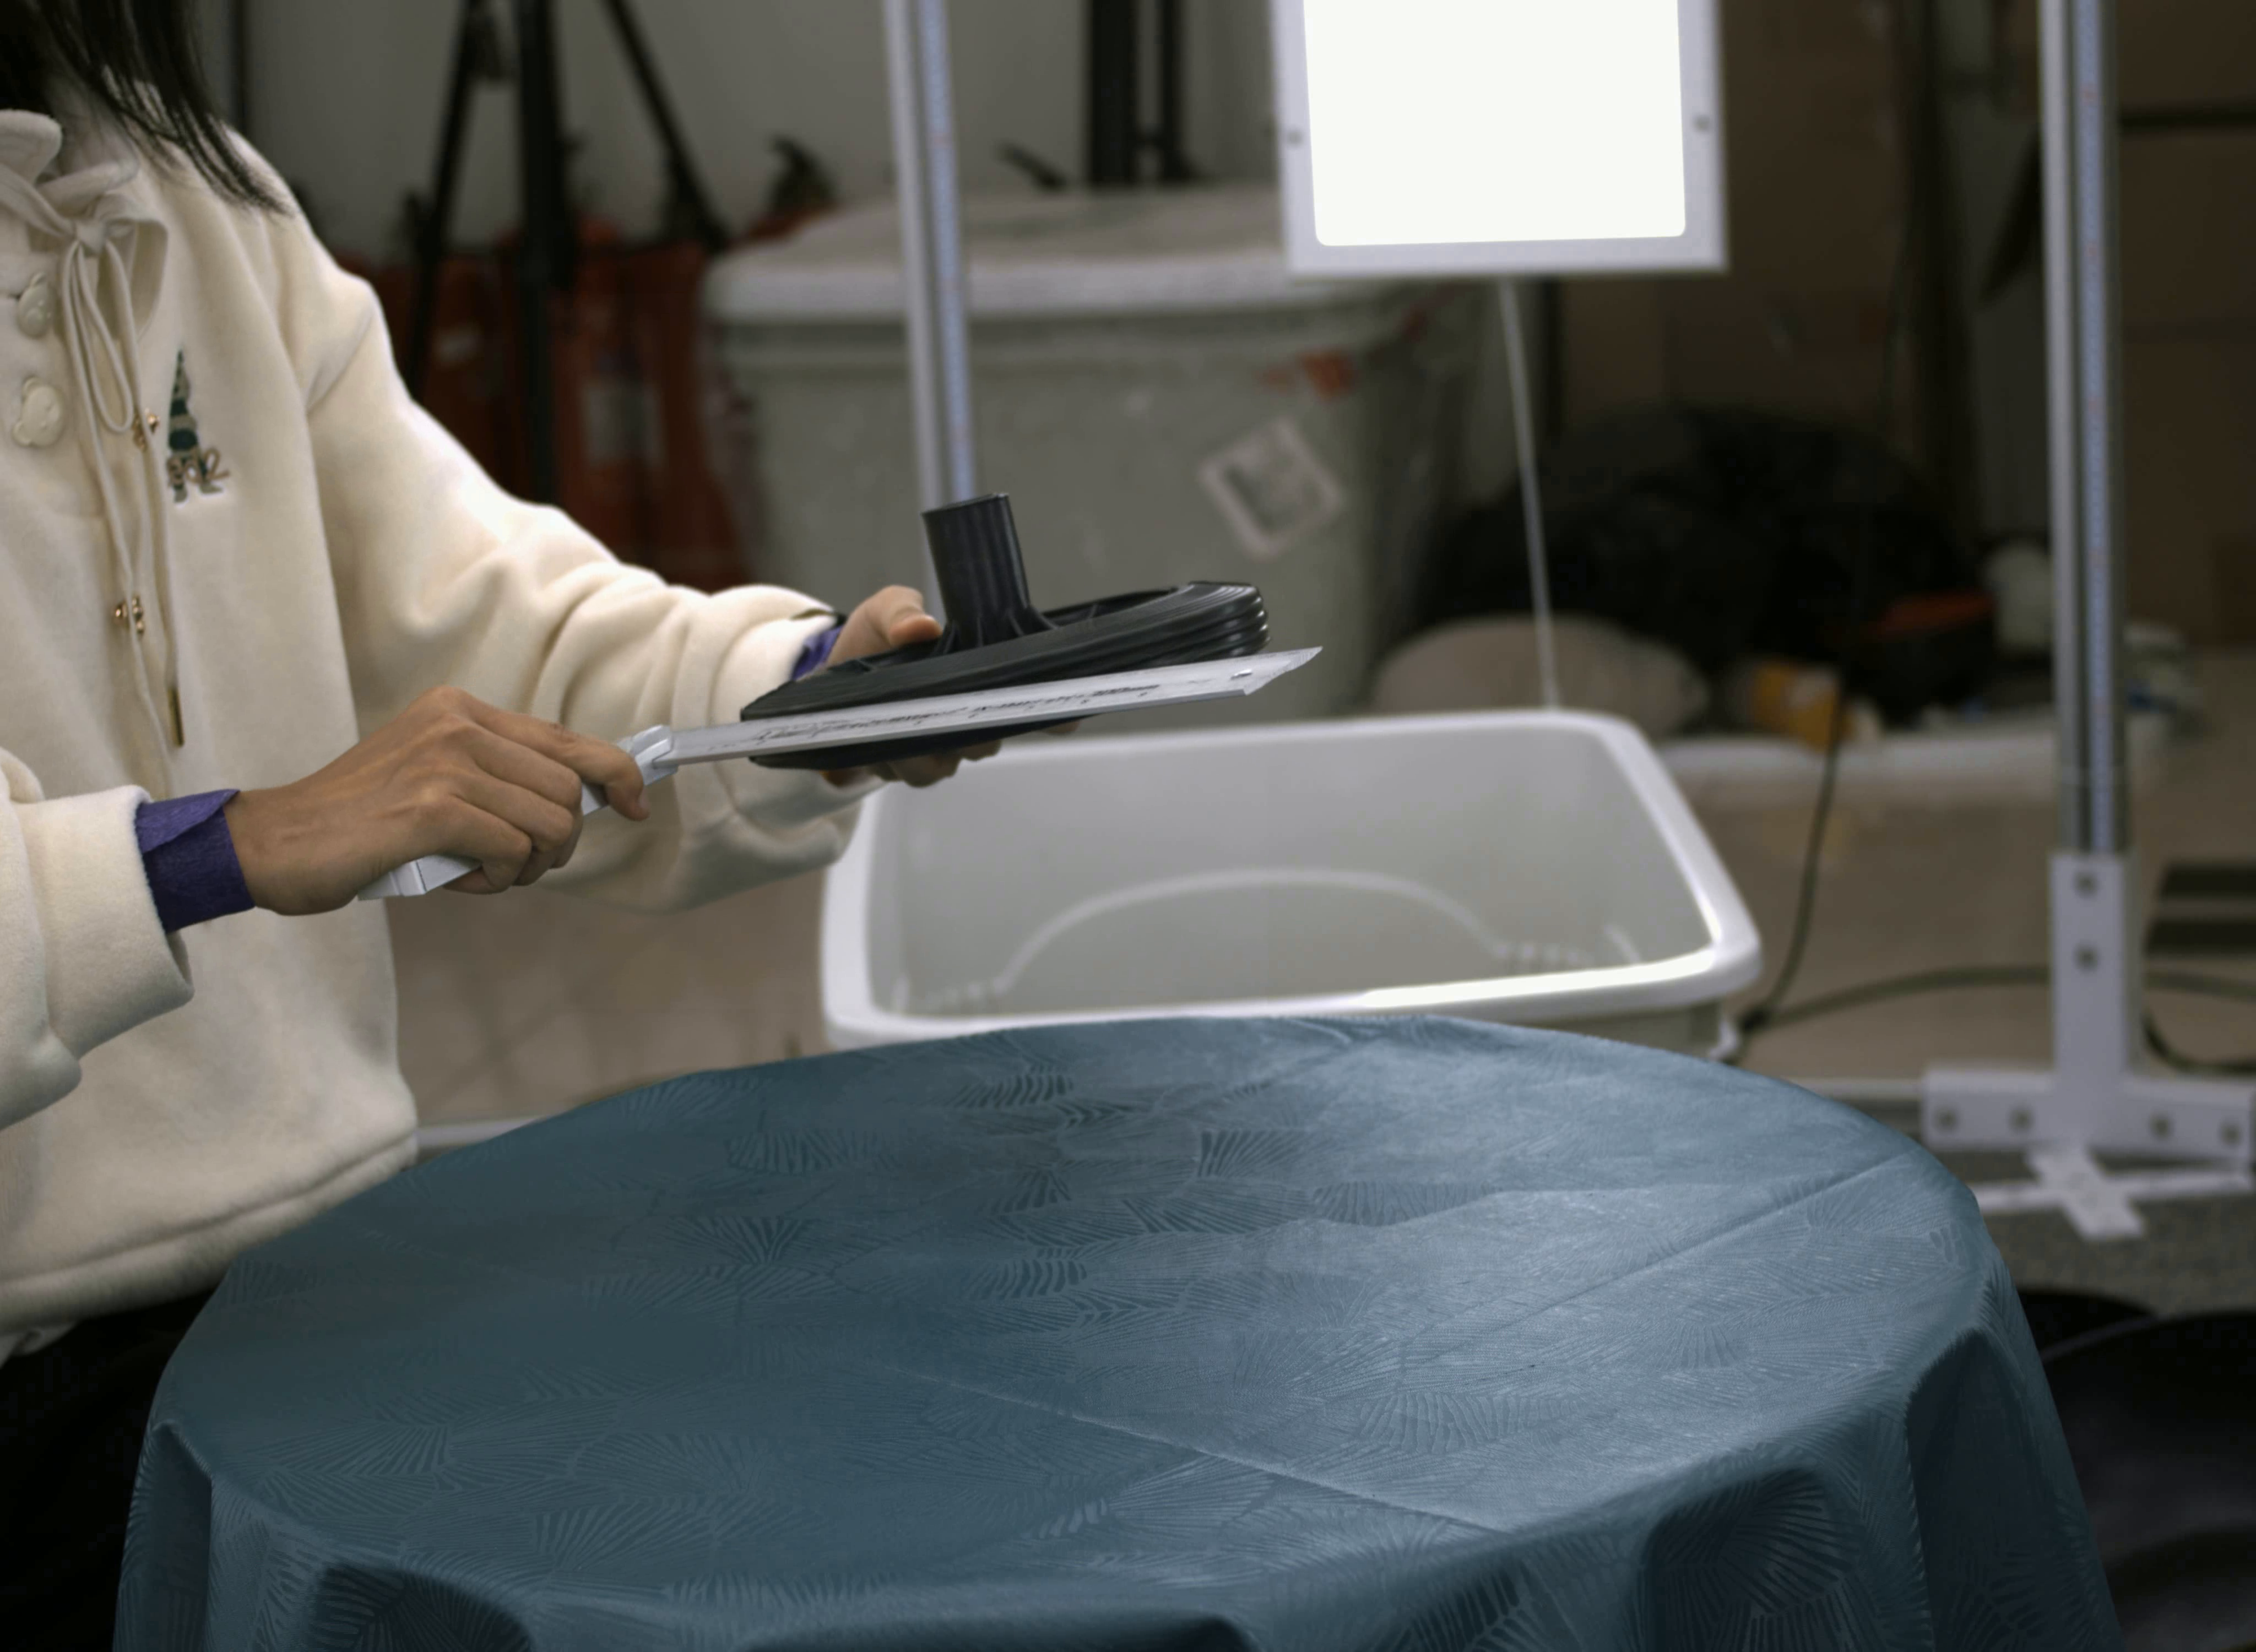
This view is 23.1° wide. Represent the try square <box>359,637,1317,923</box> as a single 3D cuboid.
[{"bbox_3d":[-0.098,-0.015,1.761,0.320,0.016,0.149,-6,20,46],"label":"try square"}]

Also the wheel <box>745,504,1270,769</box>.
[{"bbox_3d":[-0.047,-0.071,1.927,0.191,0.079,0.185,-11,6,31],"label":"wheel"}]
